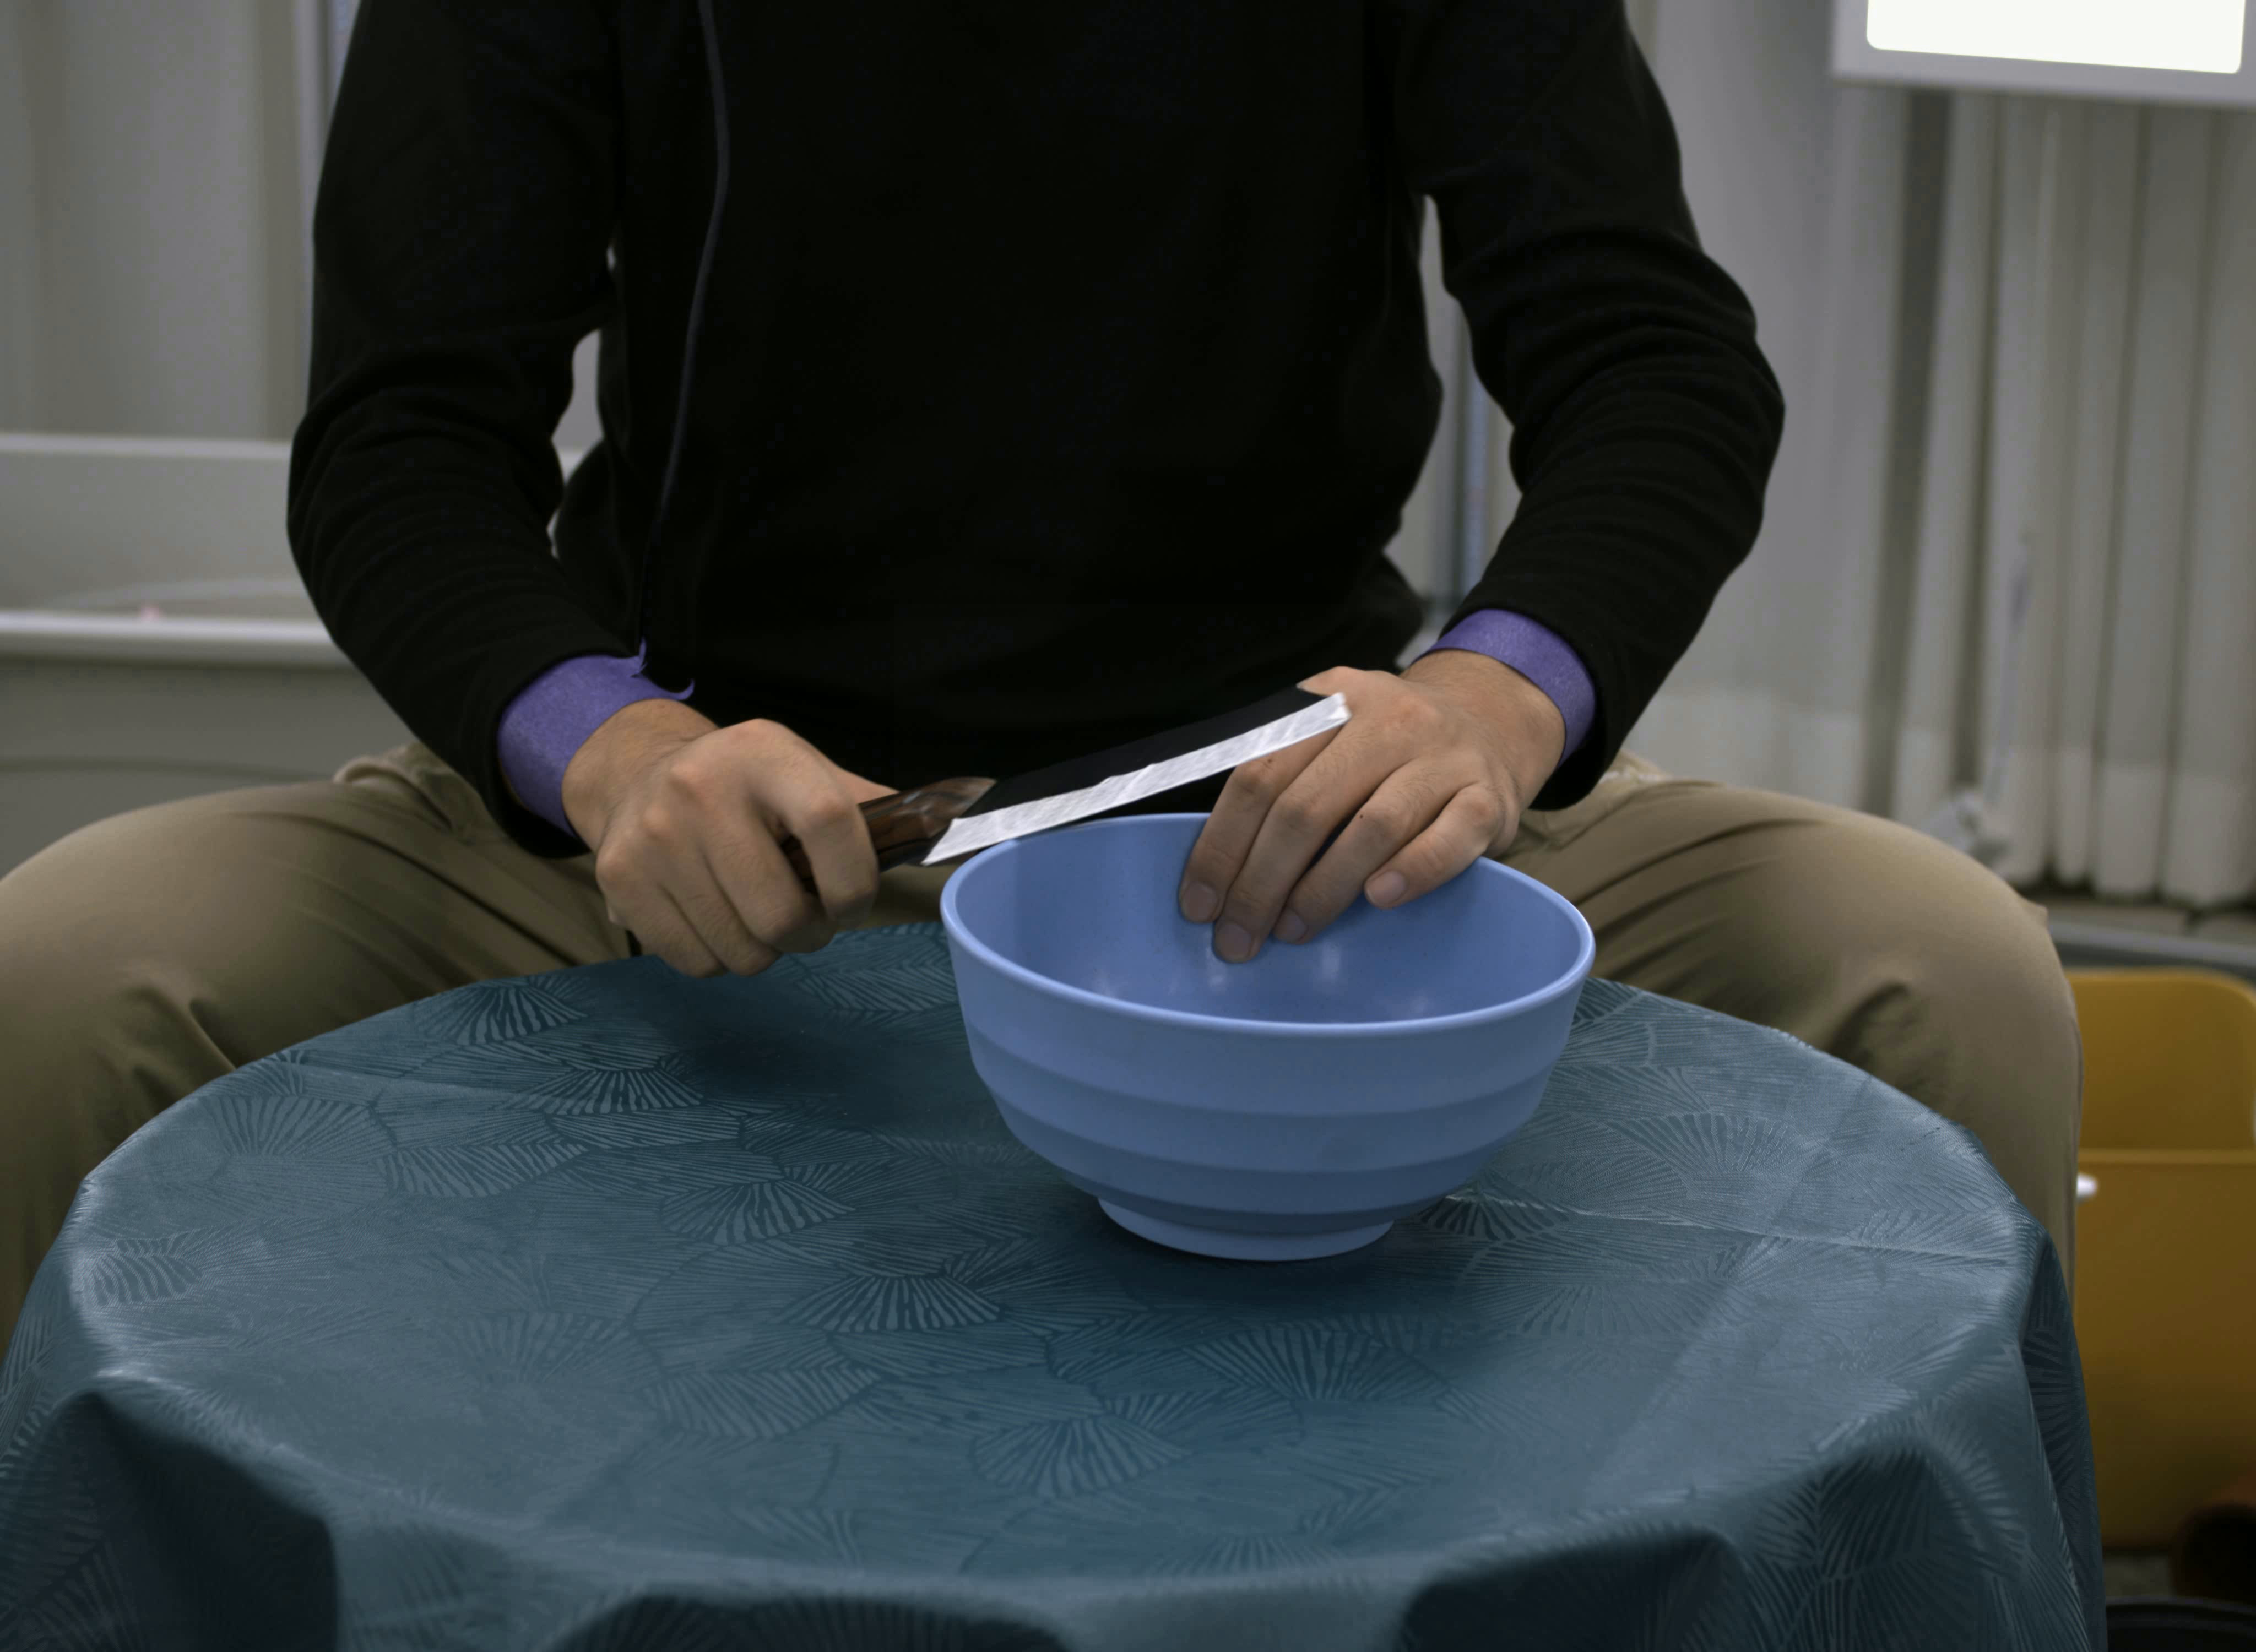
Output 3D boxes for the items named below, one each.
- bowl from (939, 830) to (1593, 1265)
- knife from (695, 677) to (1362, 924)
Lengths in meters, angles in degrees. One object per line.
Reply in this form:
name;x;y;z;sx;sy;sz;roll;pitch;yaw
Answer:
bowl;0.039;0.072;1.587;0.196;0.096;0.195;4;16;-1
knife;-0.035;-0.008;1.652;0.287;0.020;0.050;-15;26;40
